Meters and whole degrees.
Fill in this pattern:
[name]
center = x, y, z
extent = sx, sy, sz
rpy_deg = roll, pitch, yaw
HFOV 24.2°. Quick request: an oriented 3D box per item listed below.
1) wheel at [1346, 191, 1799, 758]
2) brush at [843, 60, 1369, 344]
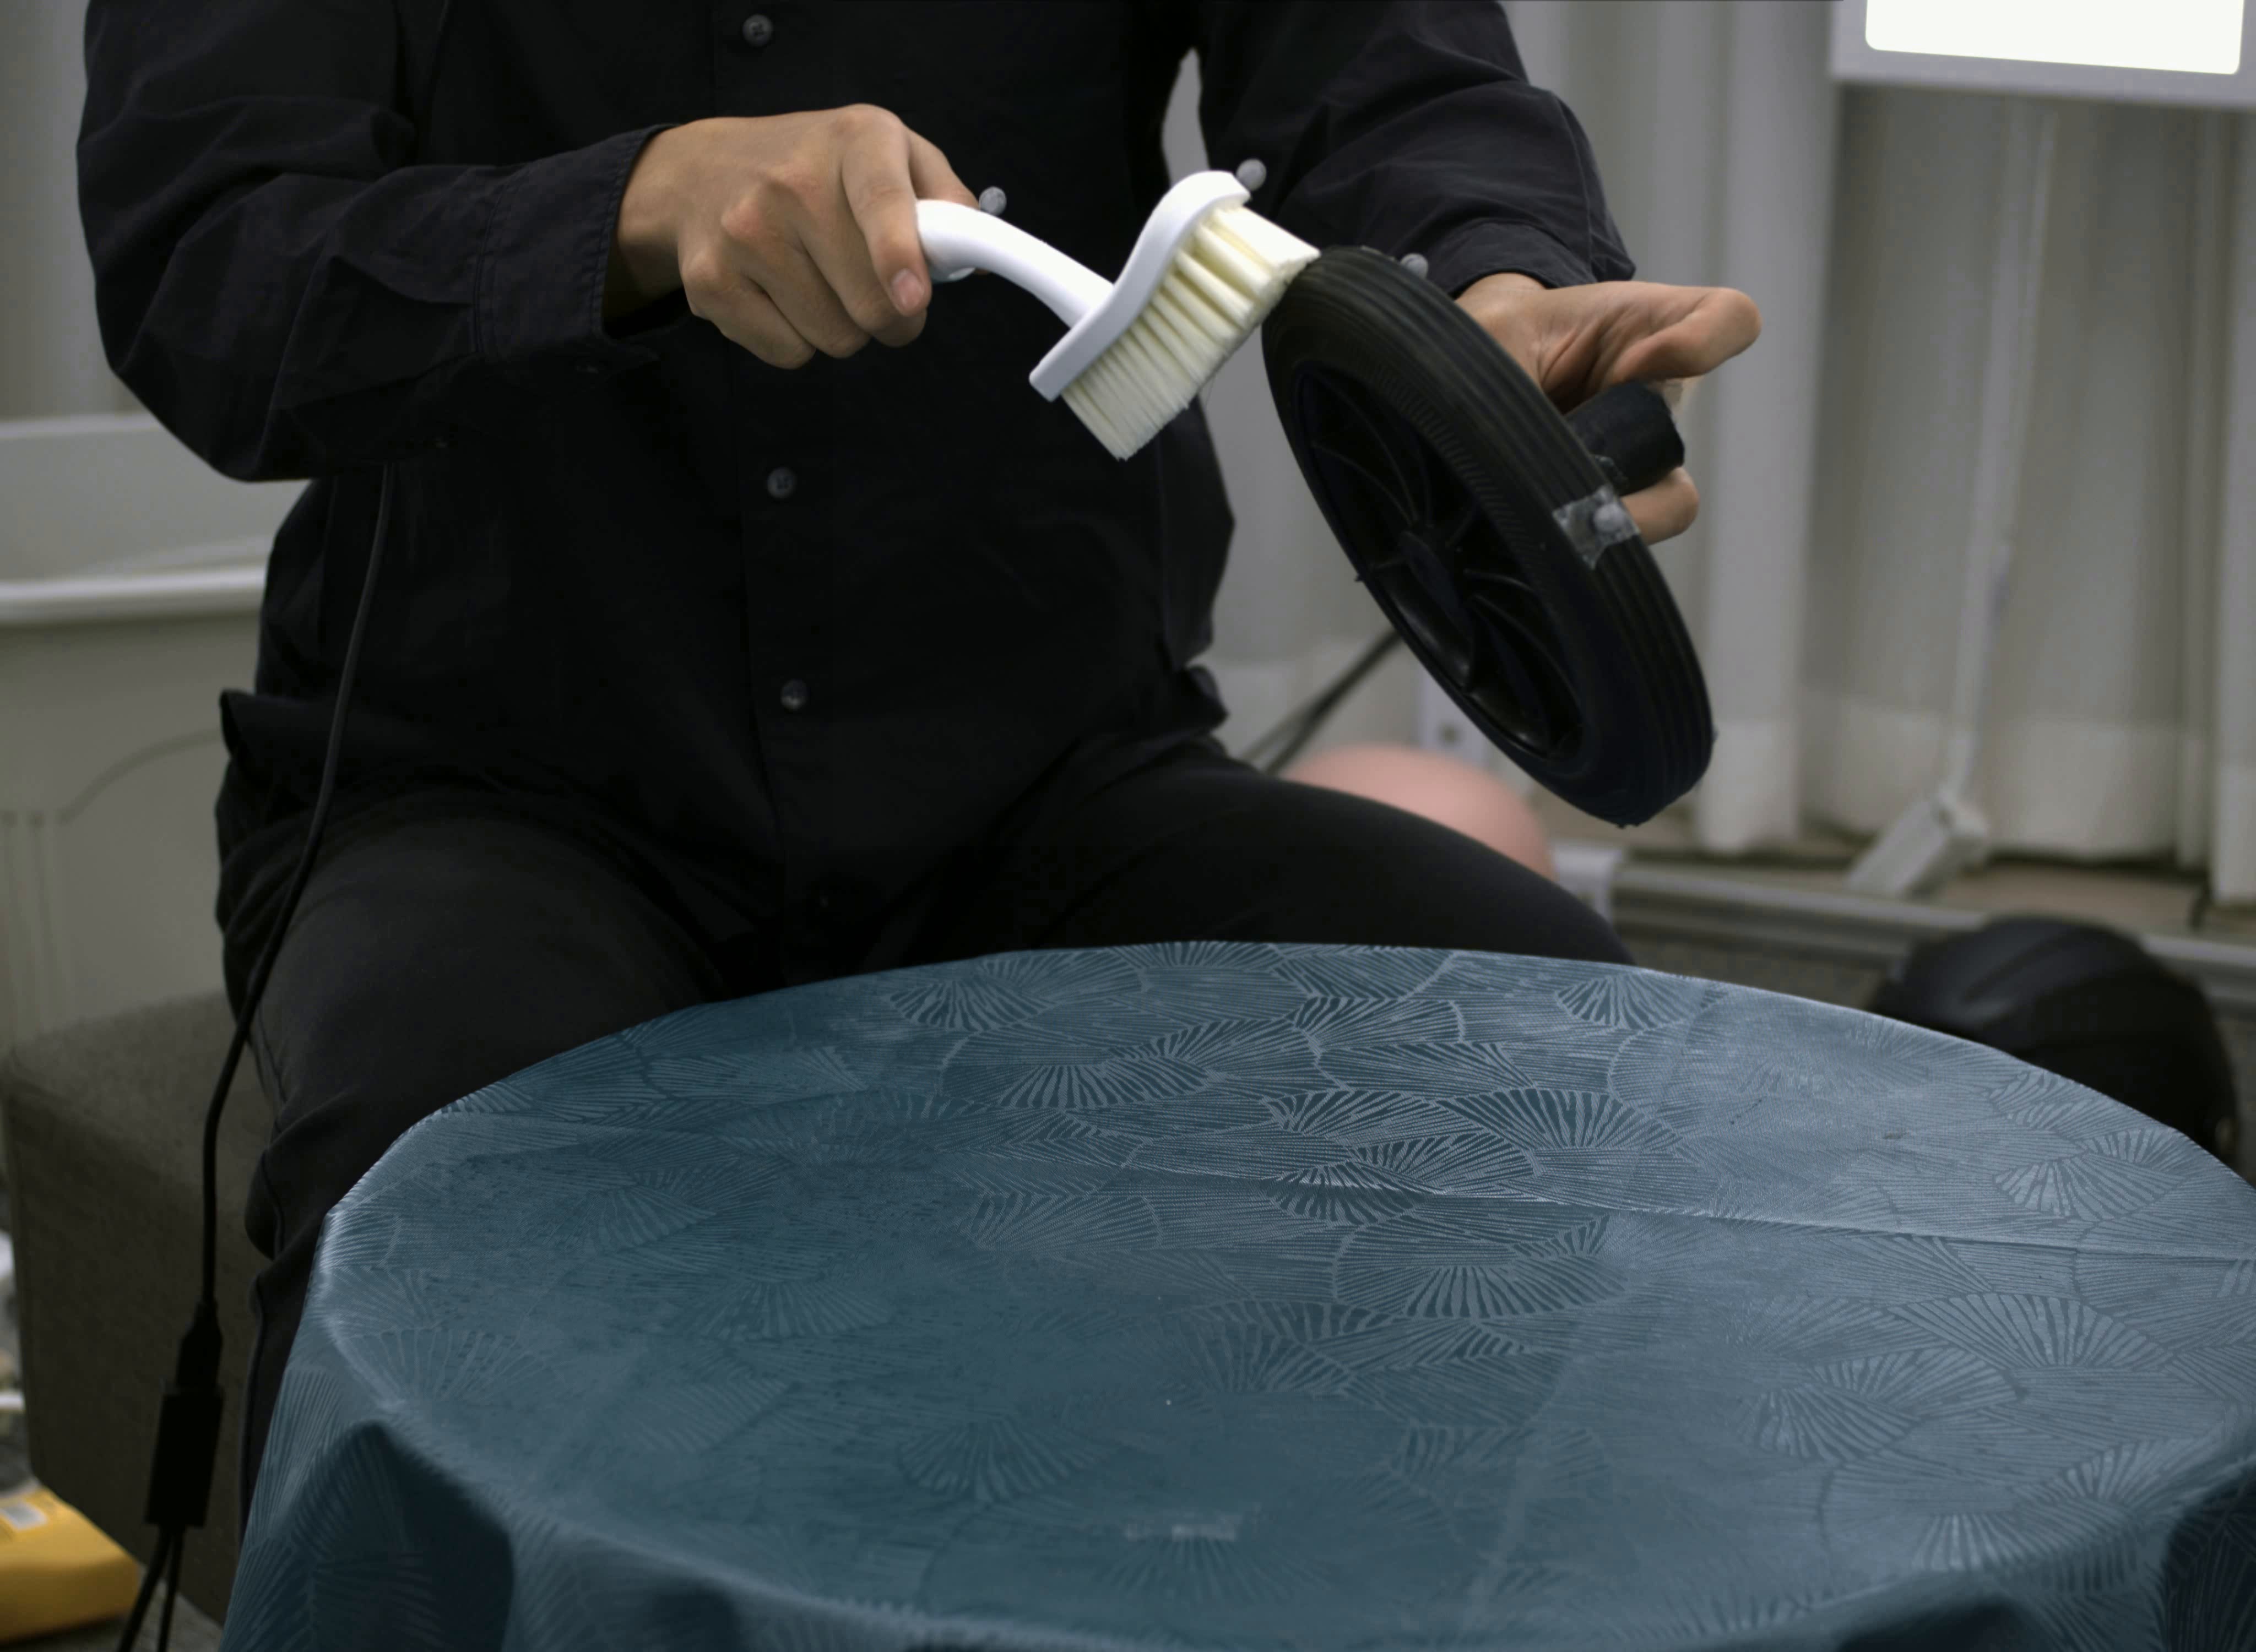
[wheel]
center = 0.145, -0.114, 1.548
extent = 0.079, 0.190, 0.187
rpy_deg = -36, 41, -13
[brush]
center = -0.001, -0.191, 1.647
extent = 0.083, 0.085, 0.323
rpy_deg = -13, 6, -21
